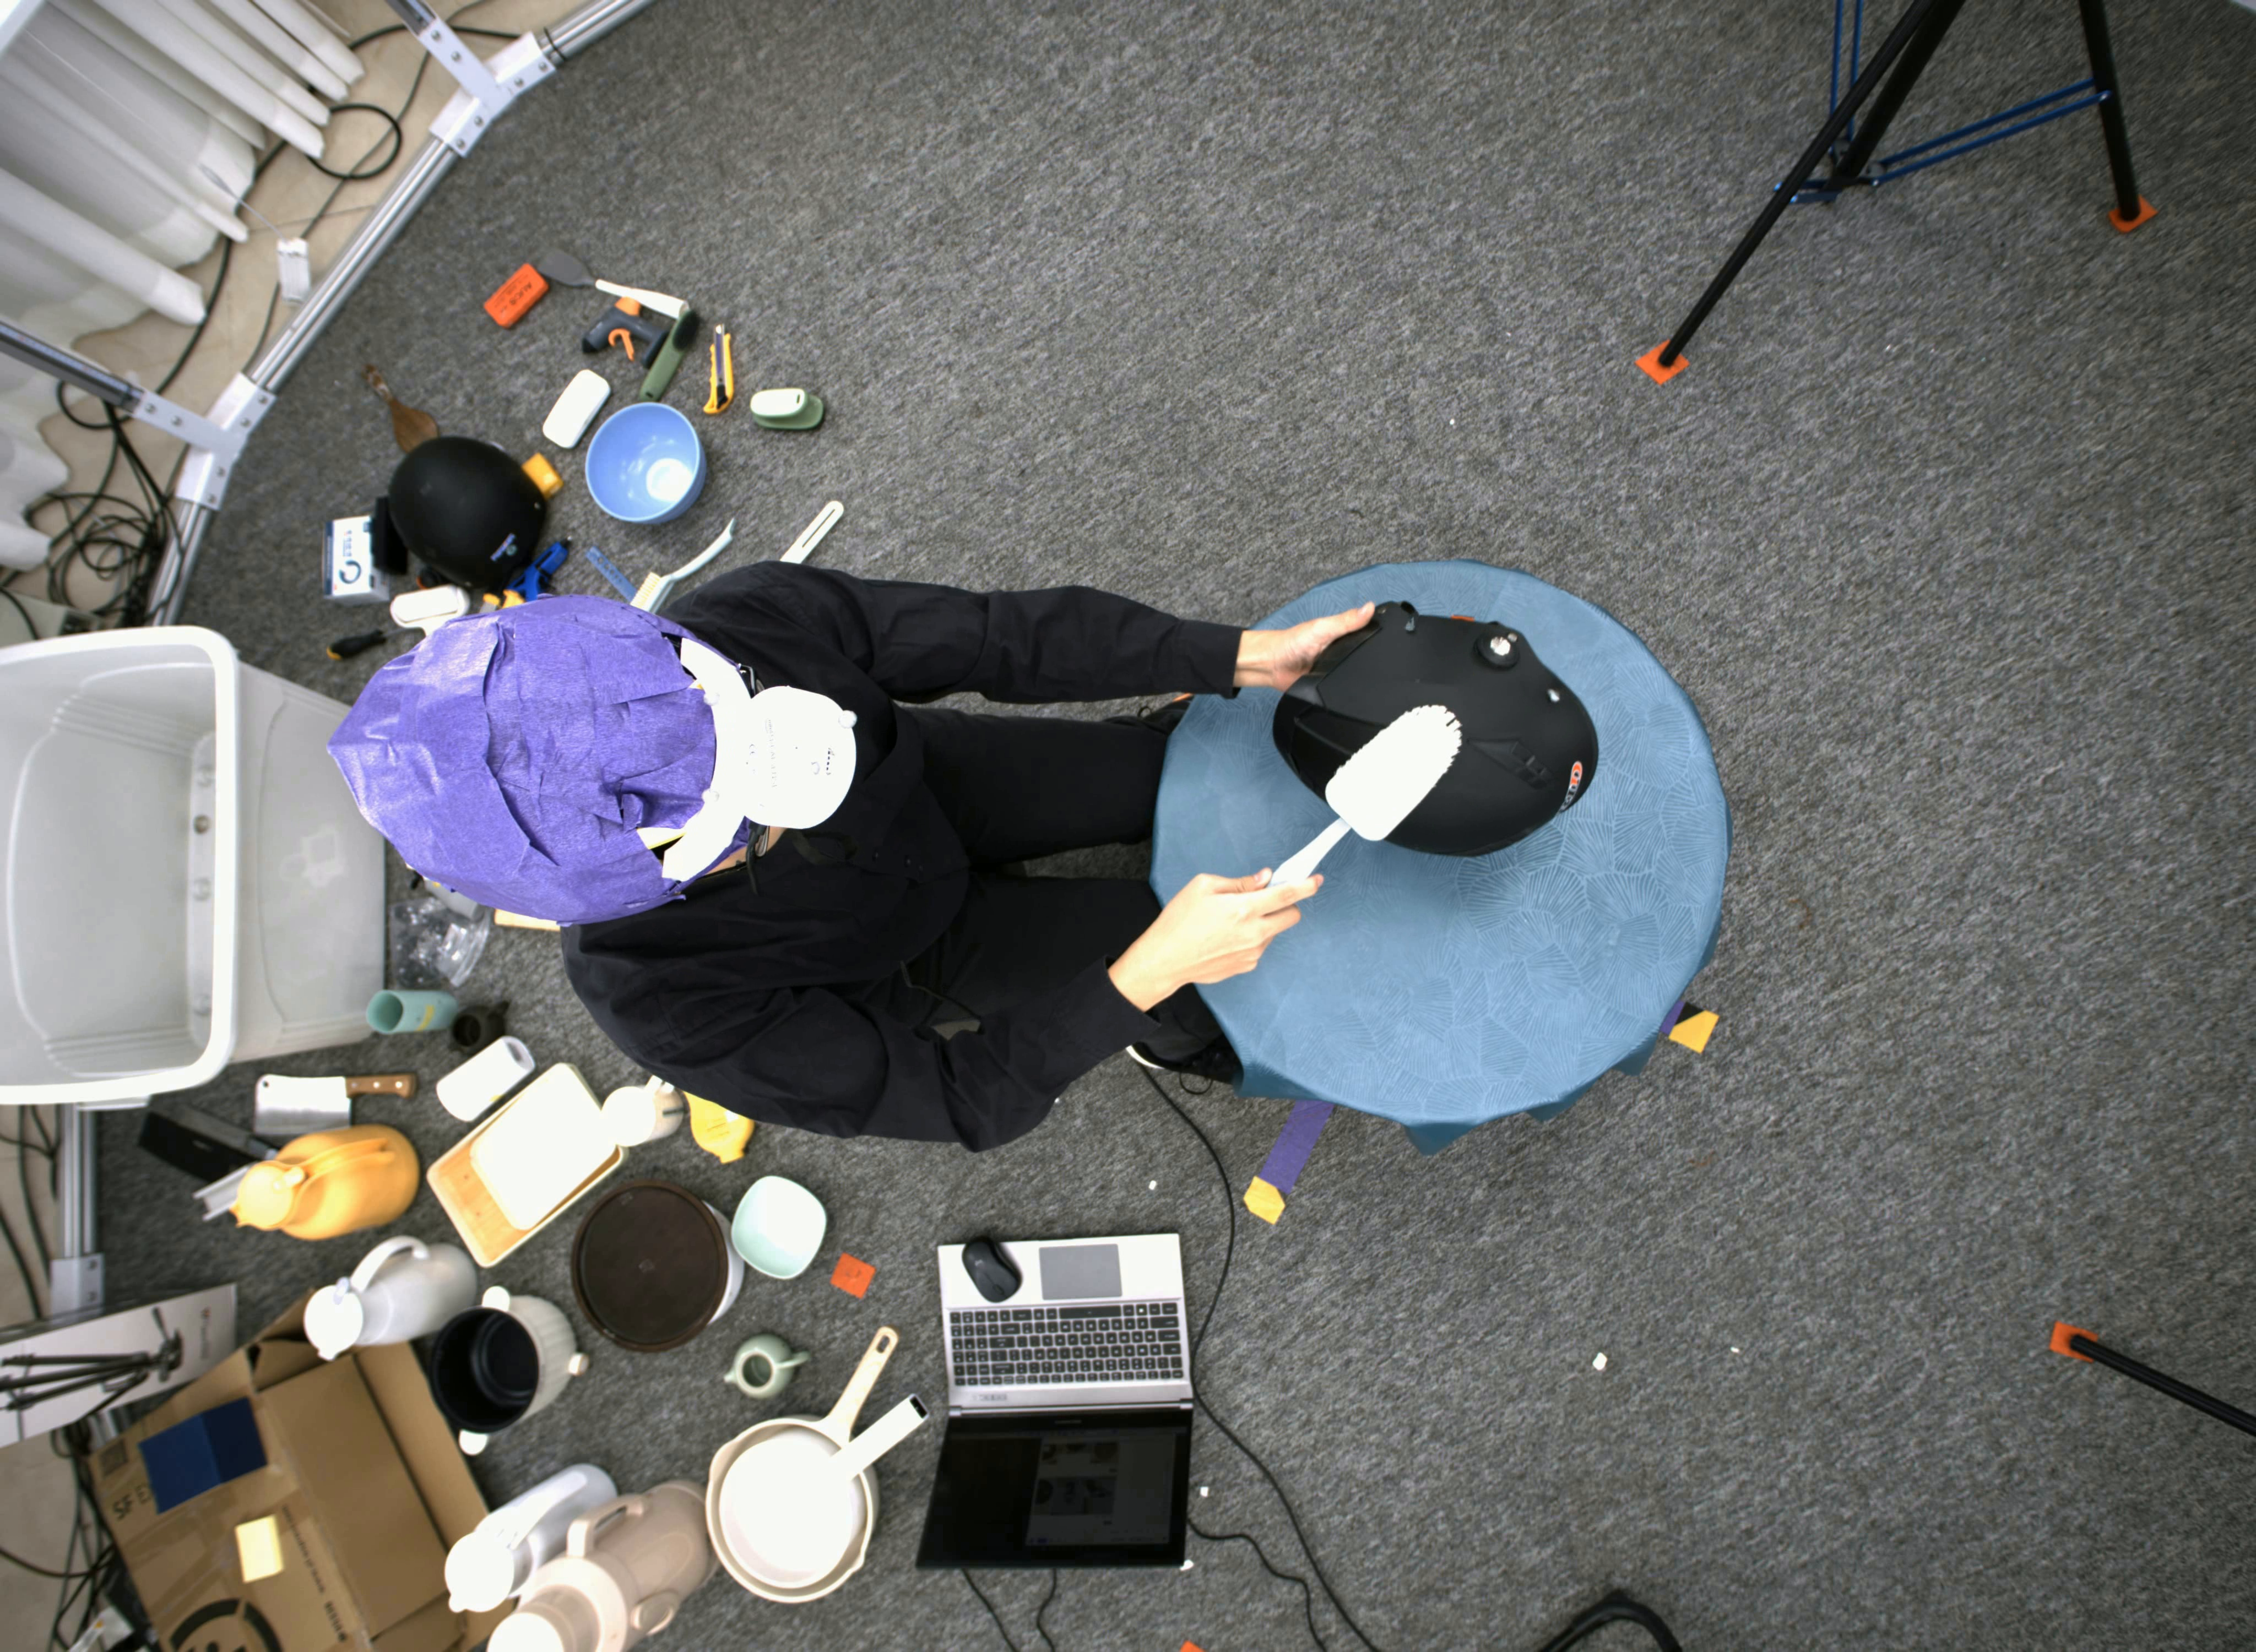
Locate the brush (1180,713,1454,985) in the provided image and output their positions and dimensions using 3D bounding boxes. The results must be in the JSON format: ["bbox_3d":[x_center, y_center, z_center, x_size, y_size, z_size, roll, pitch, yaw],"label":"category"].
[{"bbox_3d":[0.161,0.018,1.215,0.331,0.084,0.081,-47,49,24],"label":"brush"}]

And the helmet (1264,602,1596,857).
[{"bbox_3d":[0.270,-0.074,1.258,0.276,0.253,0.168,25,52,17],"label":"helmet"}]
